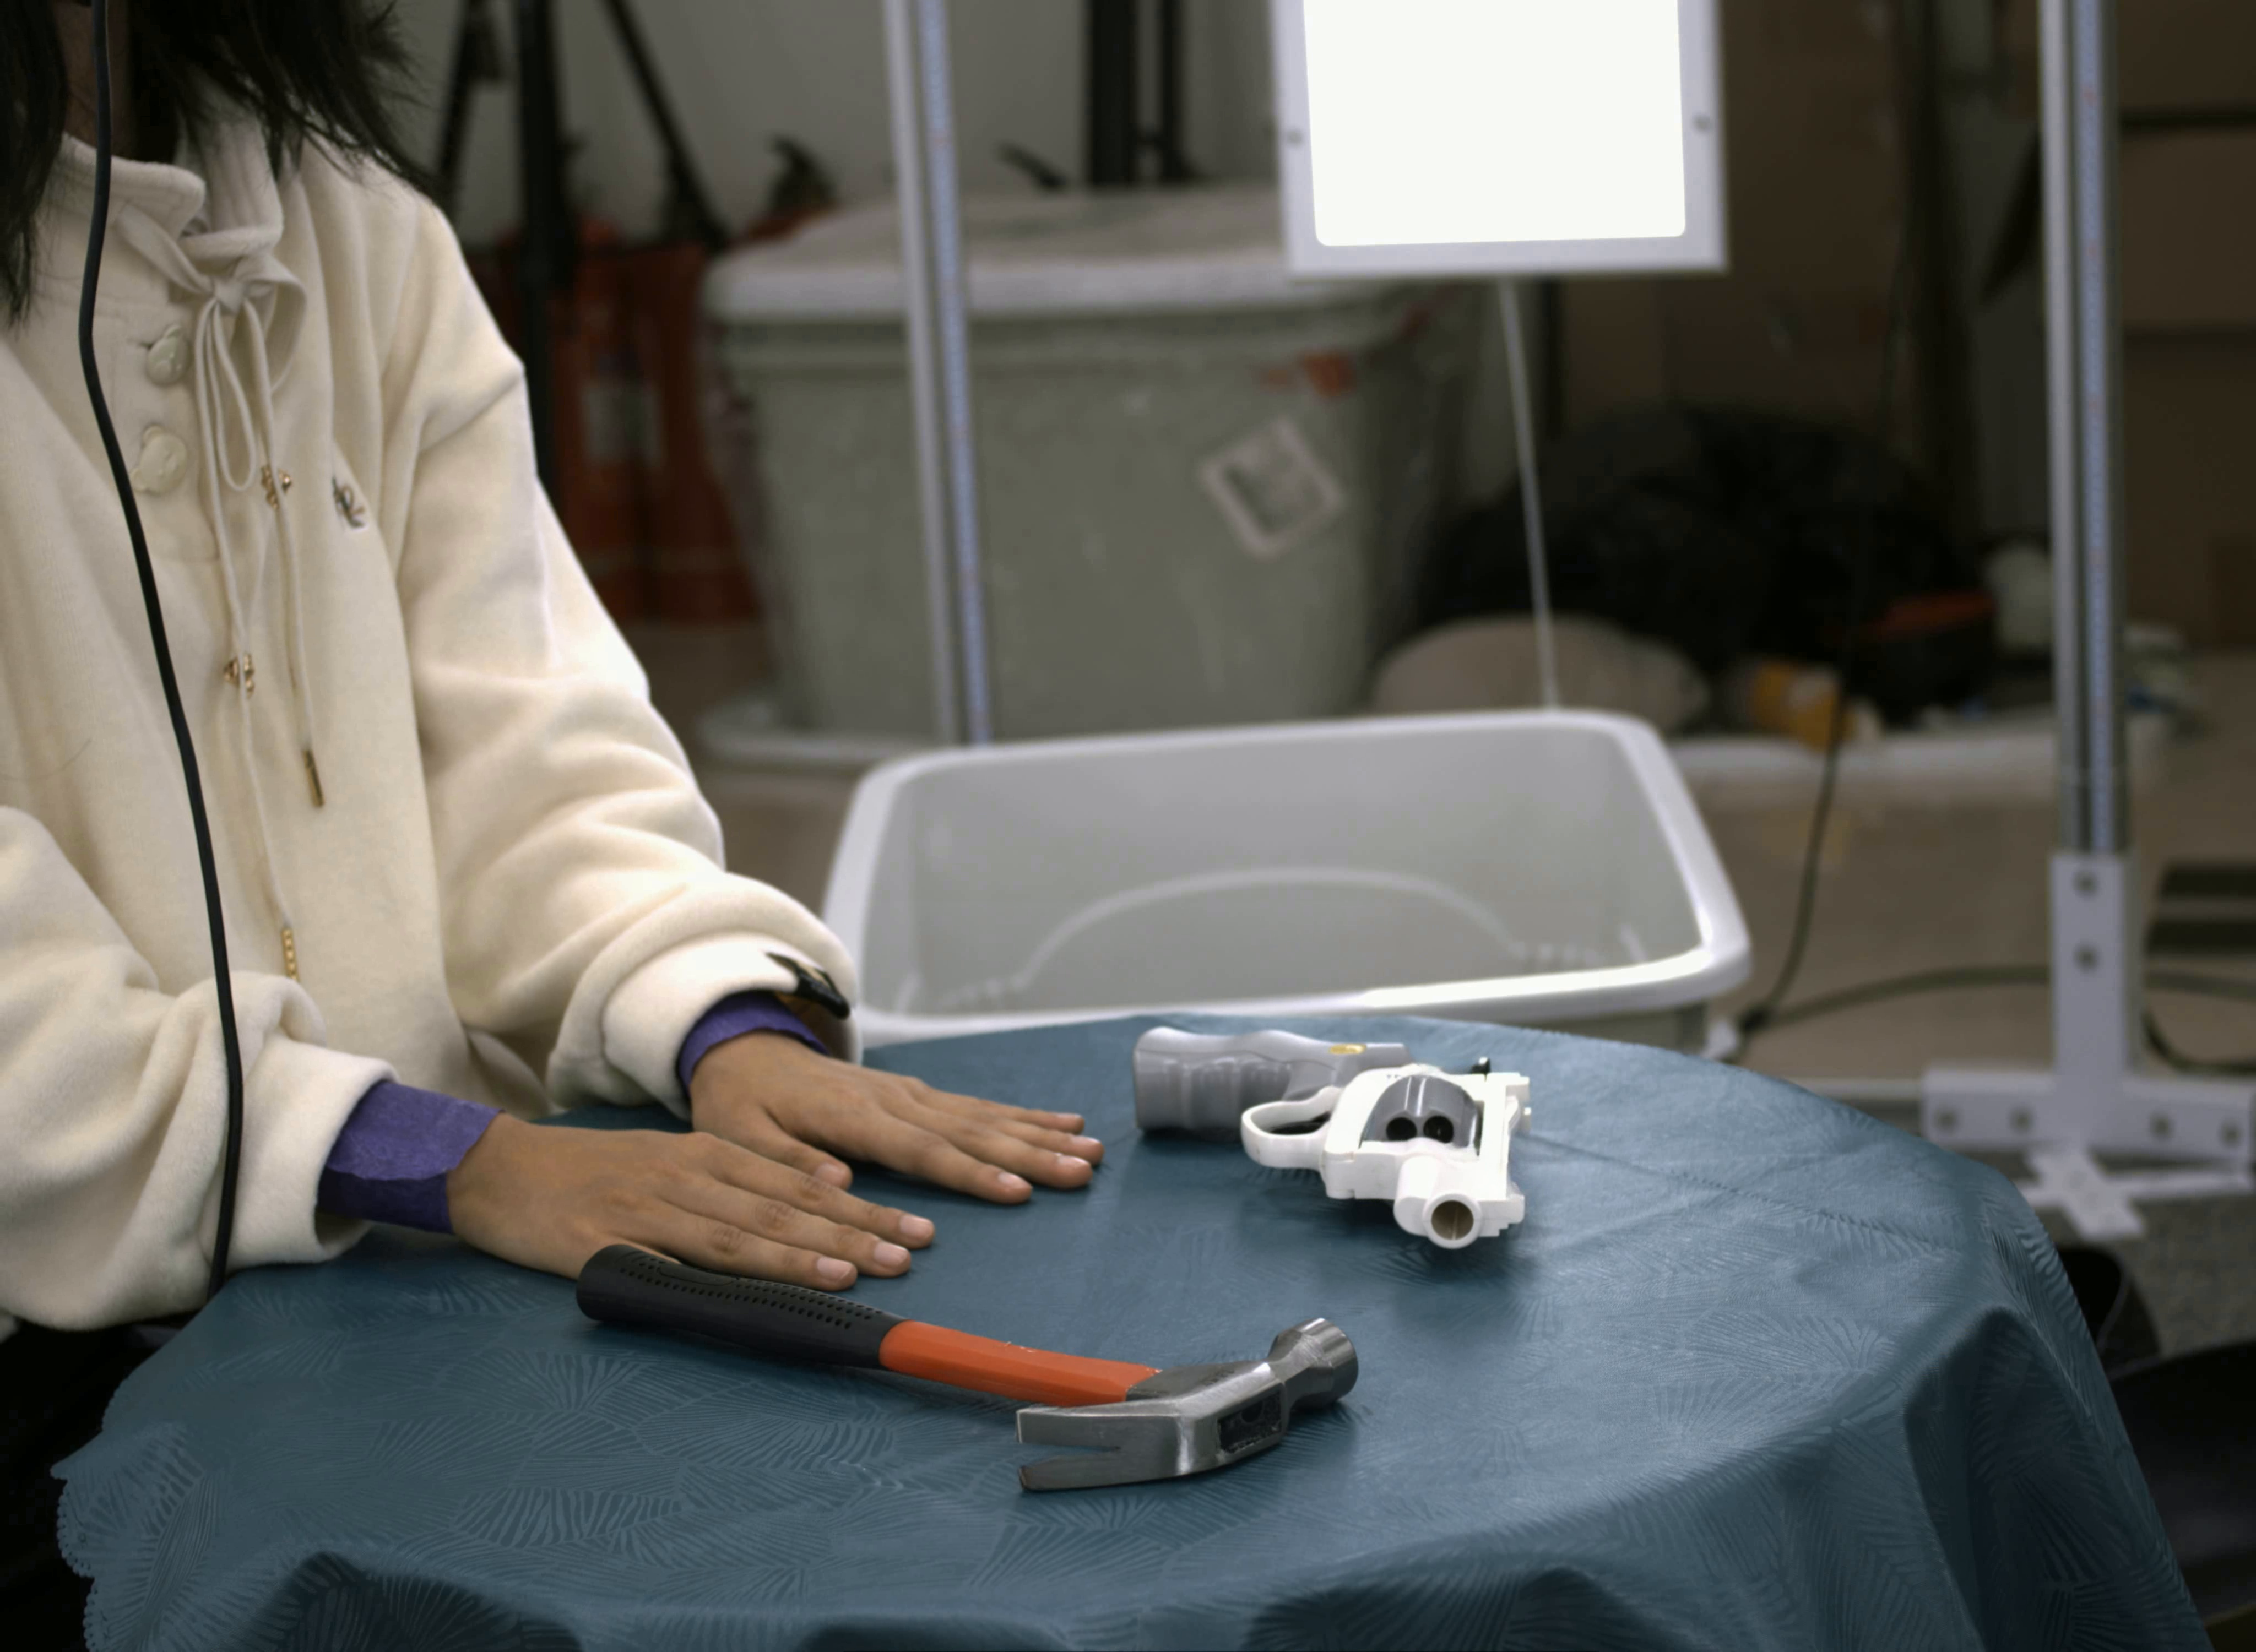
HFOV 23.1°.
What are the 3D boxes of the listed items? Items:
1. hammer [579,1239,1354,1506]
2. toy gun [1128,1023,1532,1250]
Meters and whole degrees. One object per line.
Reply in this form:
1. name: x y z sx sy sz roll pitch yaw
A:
1. hammer: -0.068 0.161 1.721 0.283 0.026 0.108 7 27 42
2. toy gun: 0.068 0.104 1.879 0.142 0.039 0.208 -1 13 4
